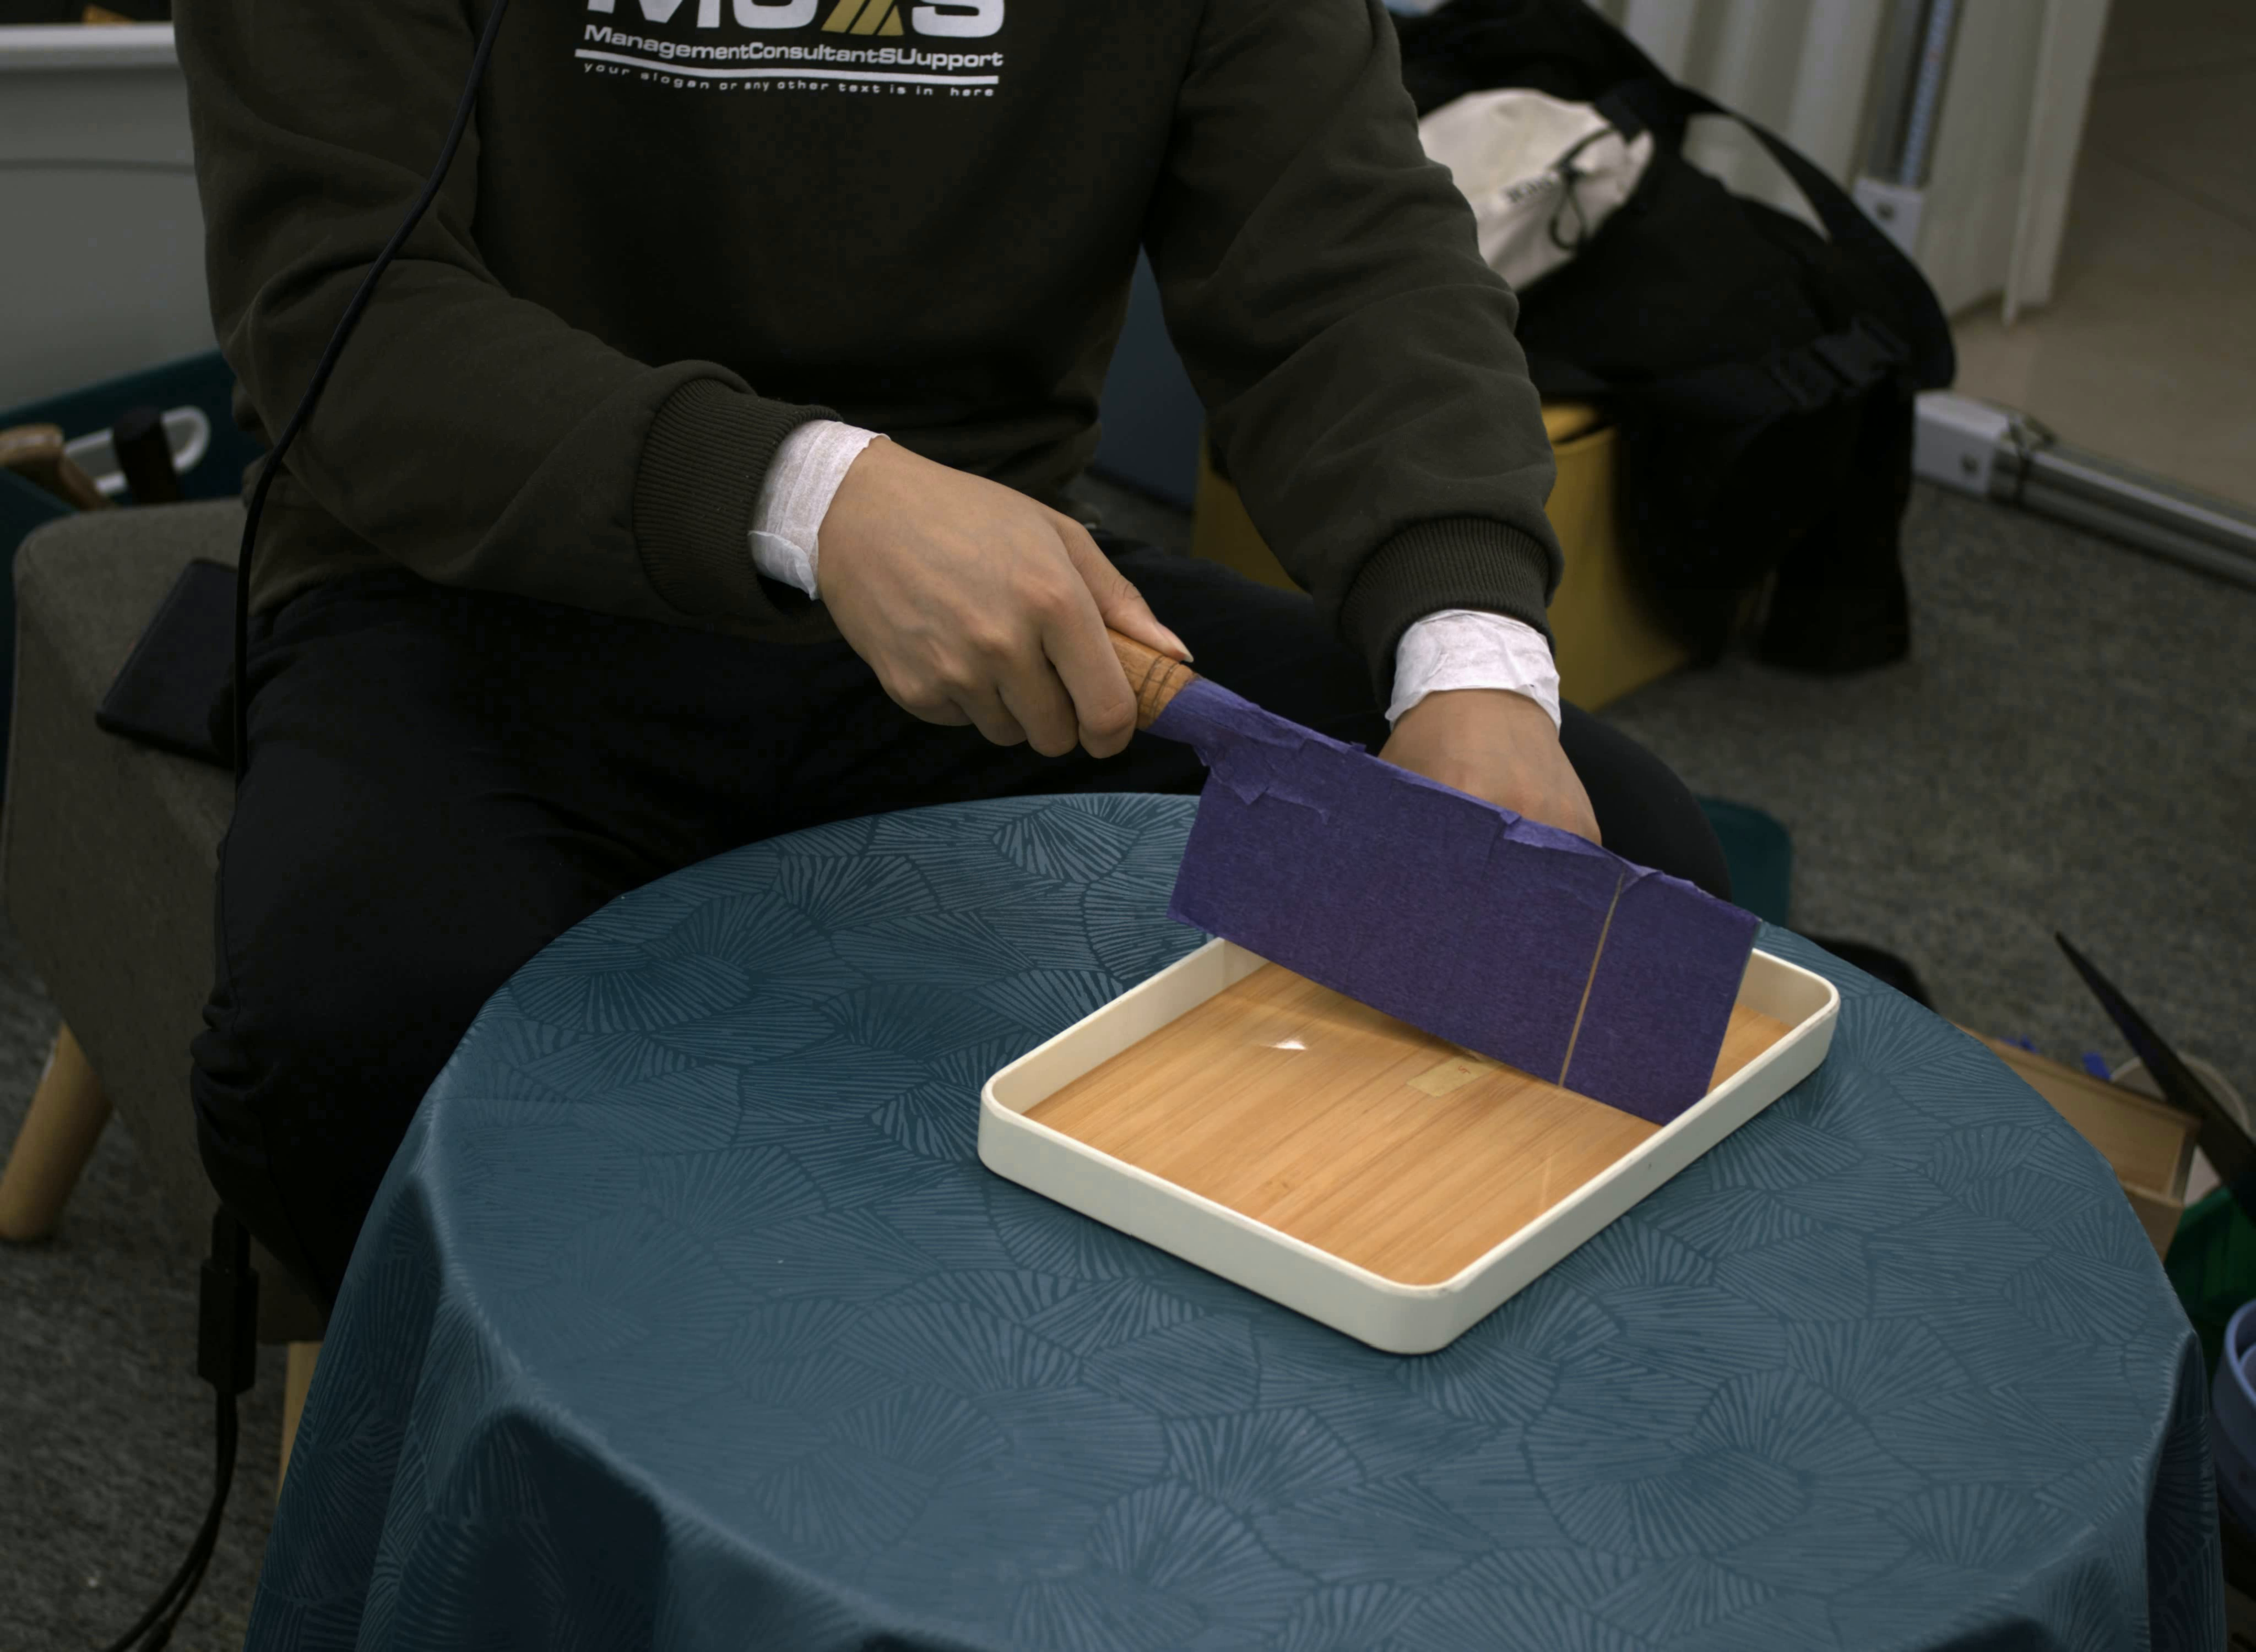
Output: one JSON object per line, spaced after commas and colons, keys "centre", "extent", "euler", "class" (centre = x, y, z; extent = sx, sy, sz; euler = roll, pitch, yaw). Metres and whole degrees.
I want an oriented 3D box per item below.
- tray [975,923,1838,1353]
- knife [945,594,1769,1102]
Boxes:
{"centre": [0.102, 0.085, 1.873], "extent": [0.192, 0.027, 0.299], "euler": [23, 31, 28], "class": "tray"}
{"centre": [0.070, 0.012, 1.890], "extent": [0.316, 0.103, 0.032], "euler": [23, 22, 18], "class": "knife"}
